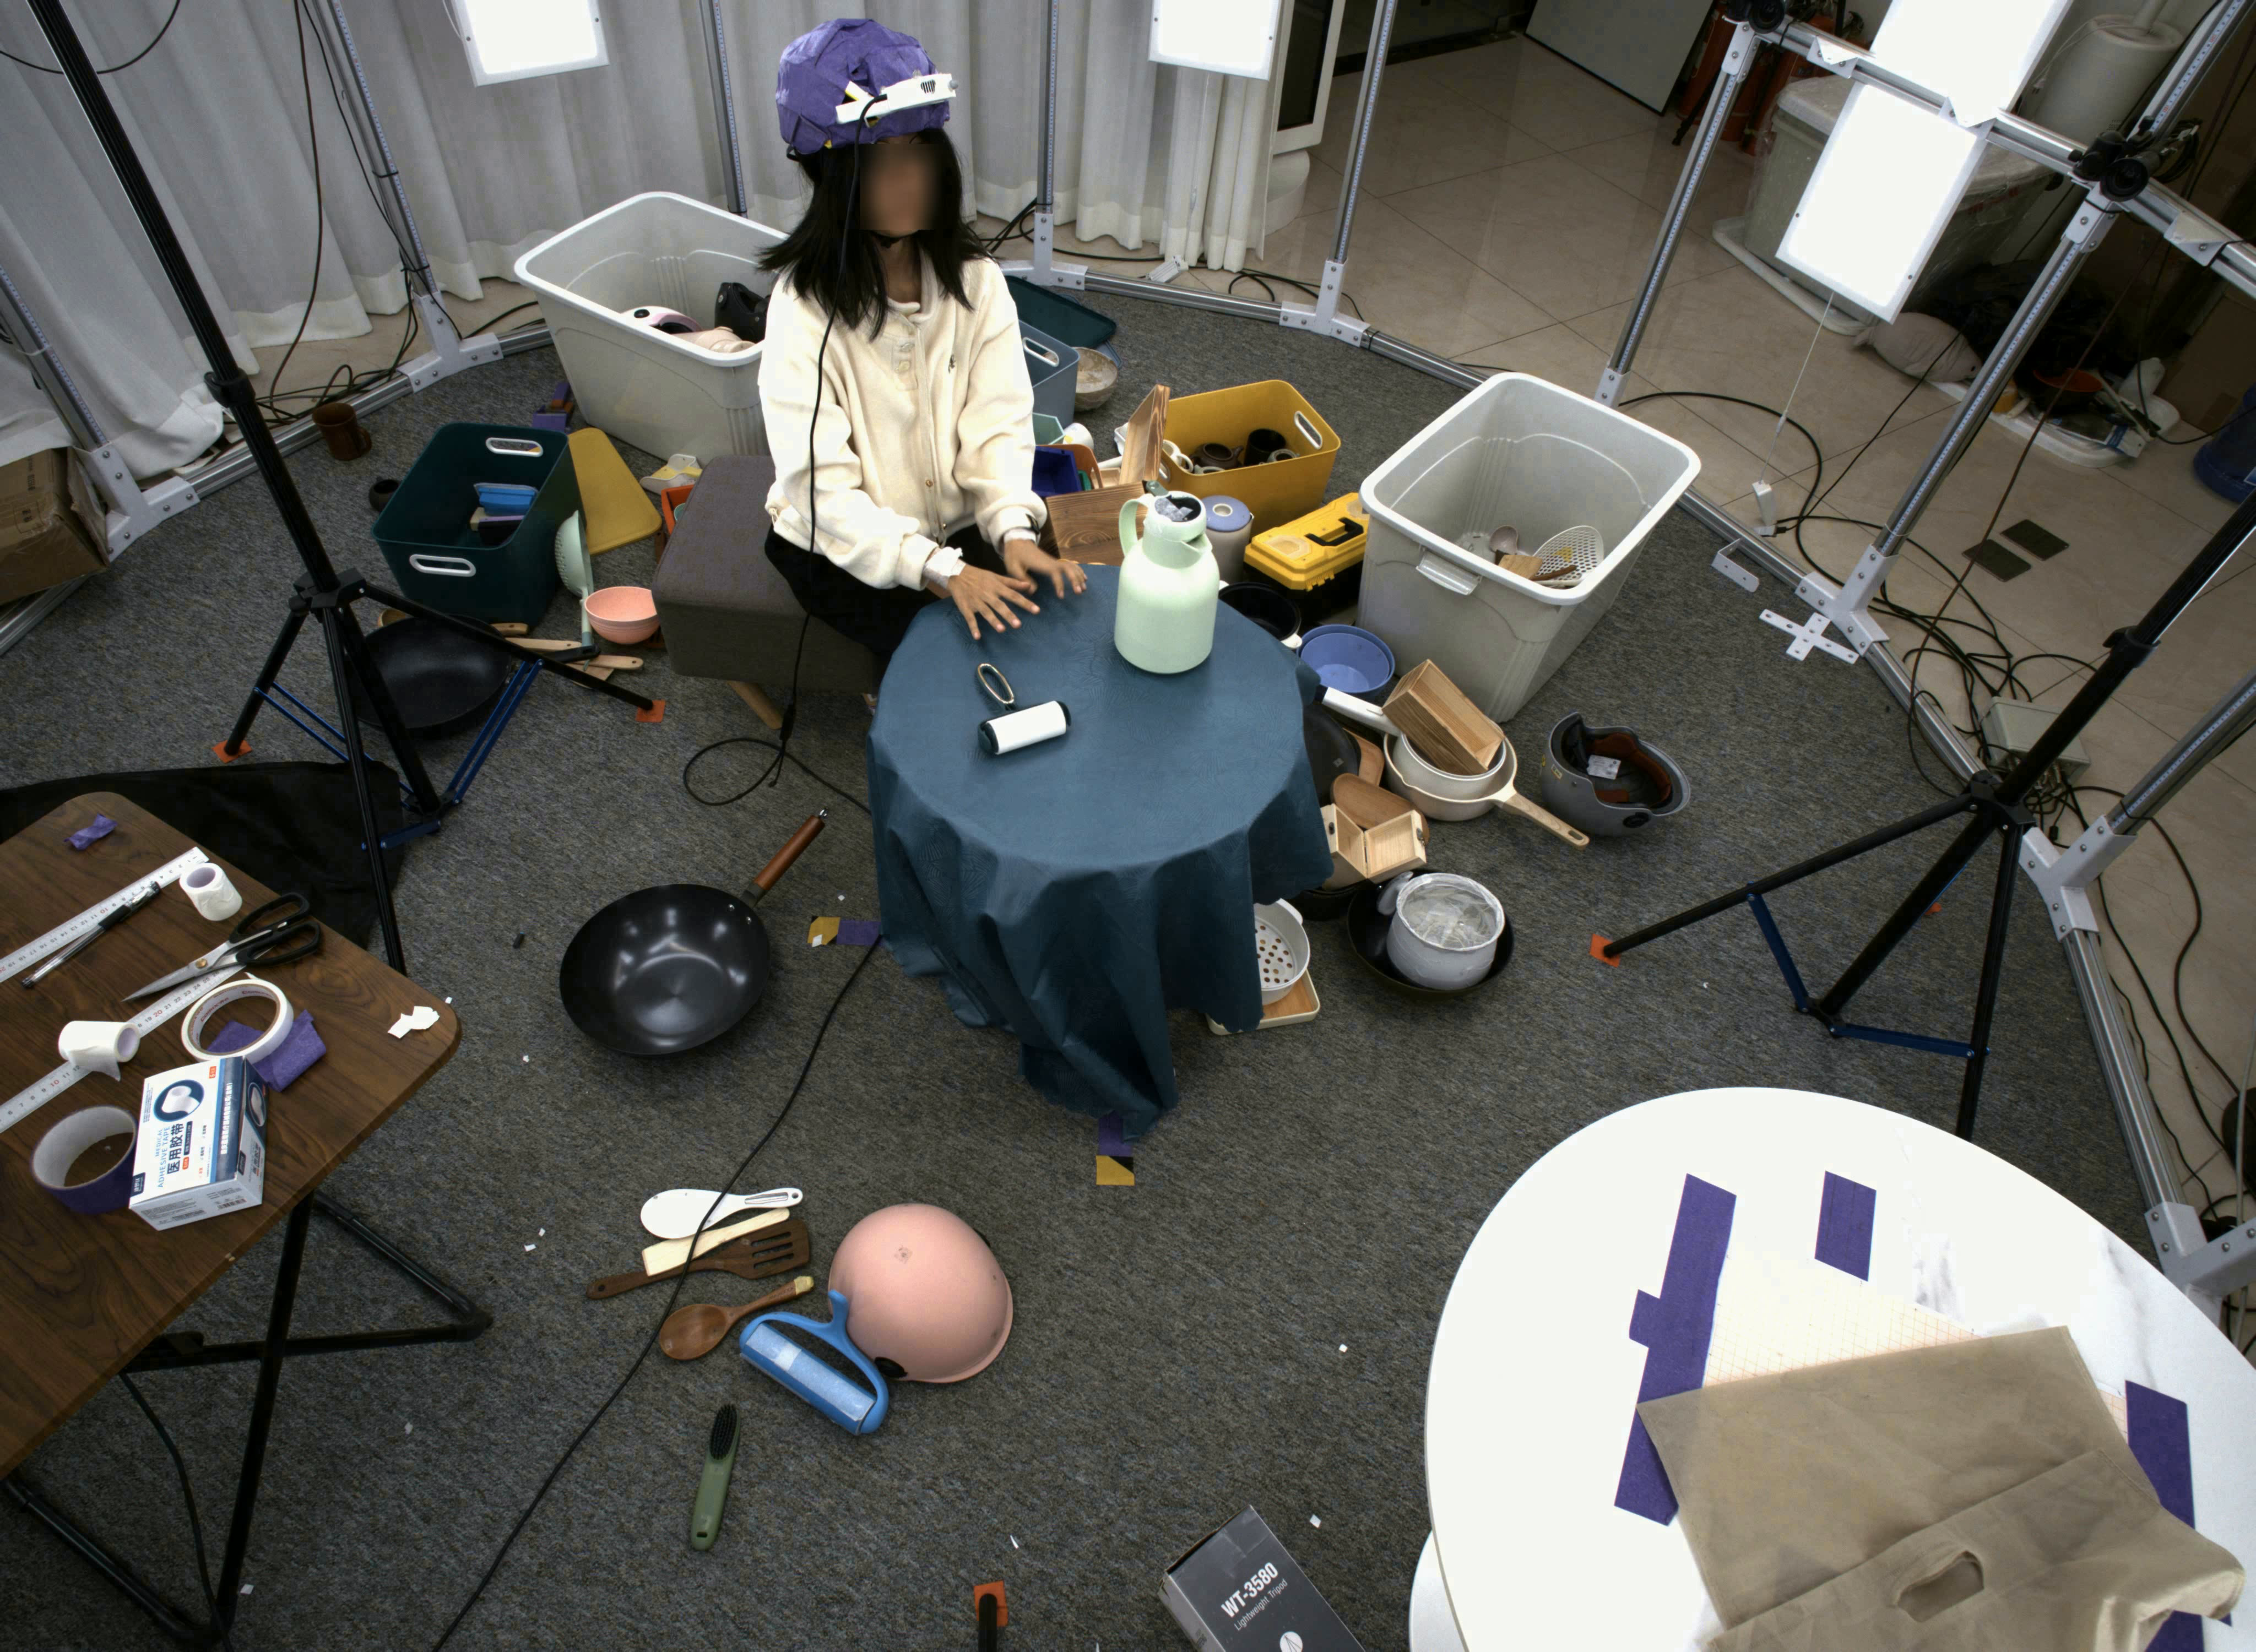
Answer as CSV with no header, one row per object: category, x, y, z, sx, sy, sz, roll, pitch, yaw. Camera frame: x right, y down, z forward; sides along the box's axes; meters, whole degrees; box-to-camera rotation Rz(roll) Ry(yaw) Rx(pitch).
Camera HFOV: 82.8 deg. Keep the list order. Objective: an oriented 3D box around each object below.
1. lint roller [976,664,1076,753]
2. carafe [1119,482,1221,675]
lint roller,-0.168,-0.182,1.785,0.134,0.047,0.184,-18,53,-20
carafe,0.053,-0.356,1.822,0.145,0.250,0.190,-26,52,-22
